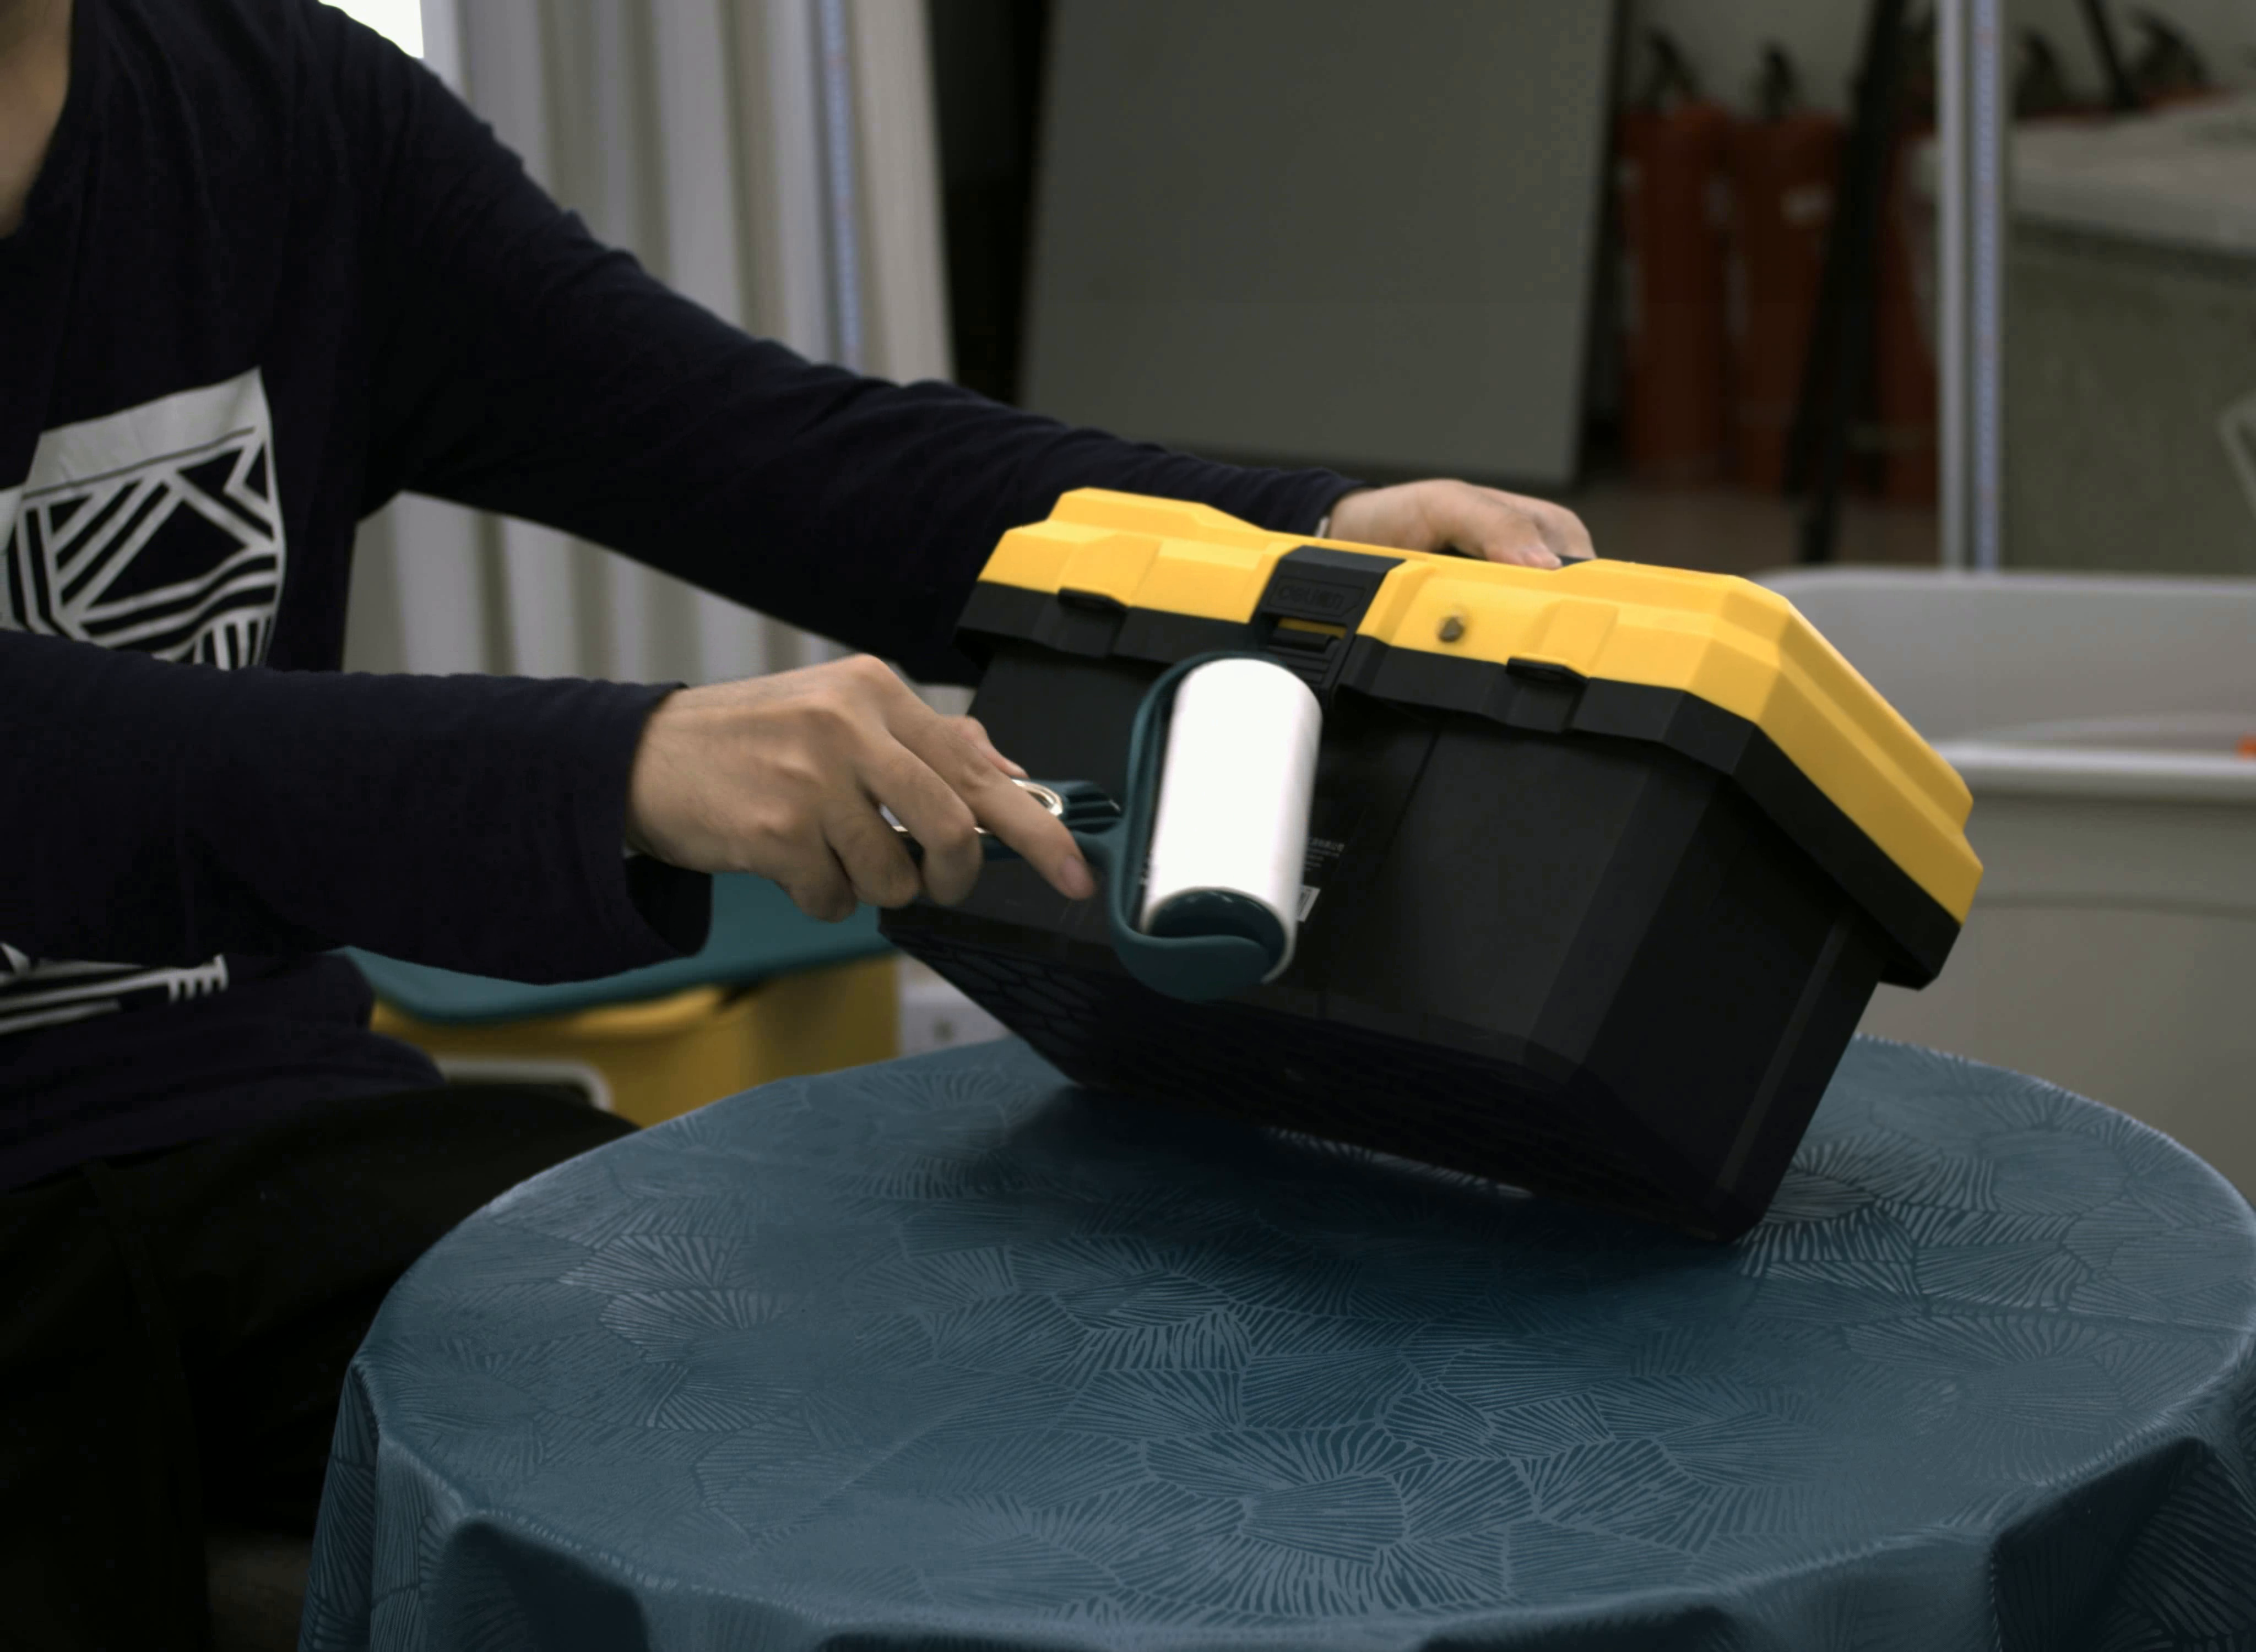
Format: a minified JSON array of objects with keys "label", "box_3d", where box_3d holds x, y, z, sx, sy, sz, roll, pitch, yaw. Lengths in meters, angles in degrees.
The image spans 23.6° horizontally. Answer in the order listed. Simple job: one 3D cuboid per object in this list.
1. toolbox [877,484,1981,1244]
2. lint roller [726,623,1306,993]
[{"label":"toolbox","box_3d":[0.087,0.008,1.766,0.355,0.173,0.179,10,-23,46]},{"label":"lint roller","box_3d":[-0.037,-0.009,1.662,0.178,0.048,0.135,3,46,7]}]
